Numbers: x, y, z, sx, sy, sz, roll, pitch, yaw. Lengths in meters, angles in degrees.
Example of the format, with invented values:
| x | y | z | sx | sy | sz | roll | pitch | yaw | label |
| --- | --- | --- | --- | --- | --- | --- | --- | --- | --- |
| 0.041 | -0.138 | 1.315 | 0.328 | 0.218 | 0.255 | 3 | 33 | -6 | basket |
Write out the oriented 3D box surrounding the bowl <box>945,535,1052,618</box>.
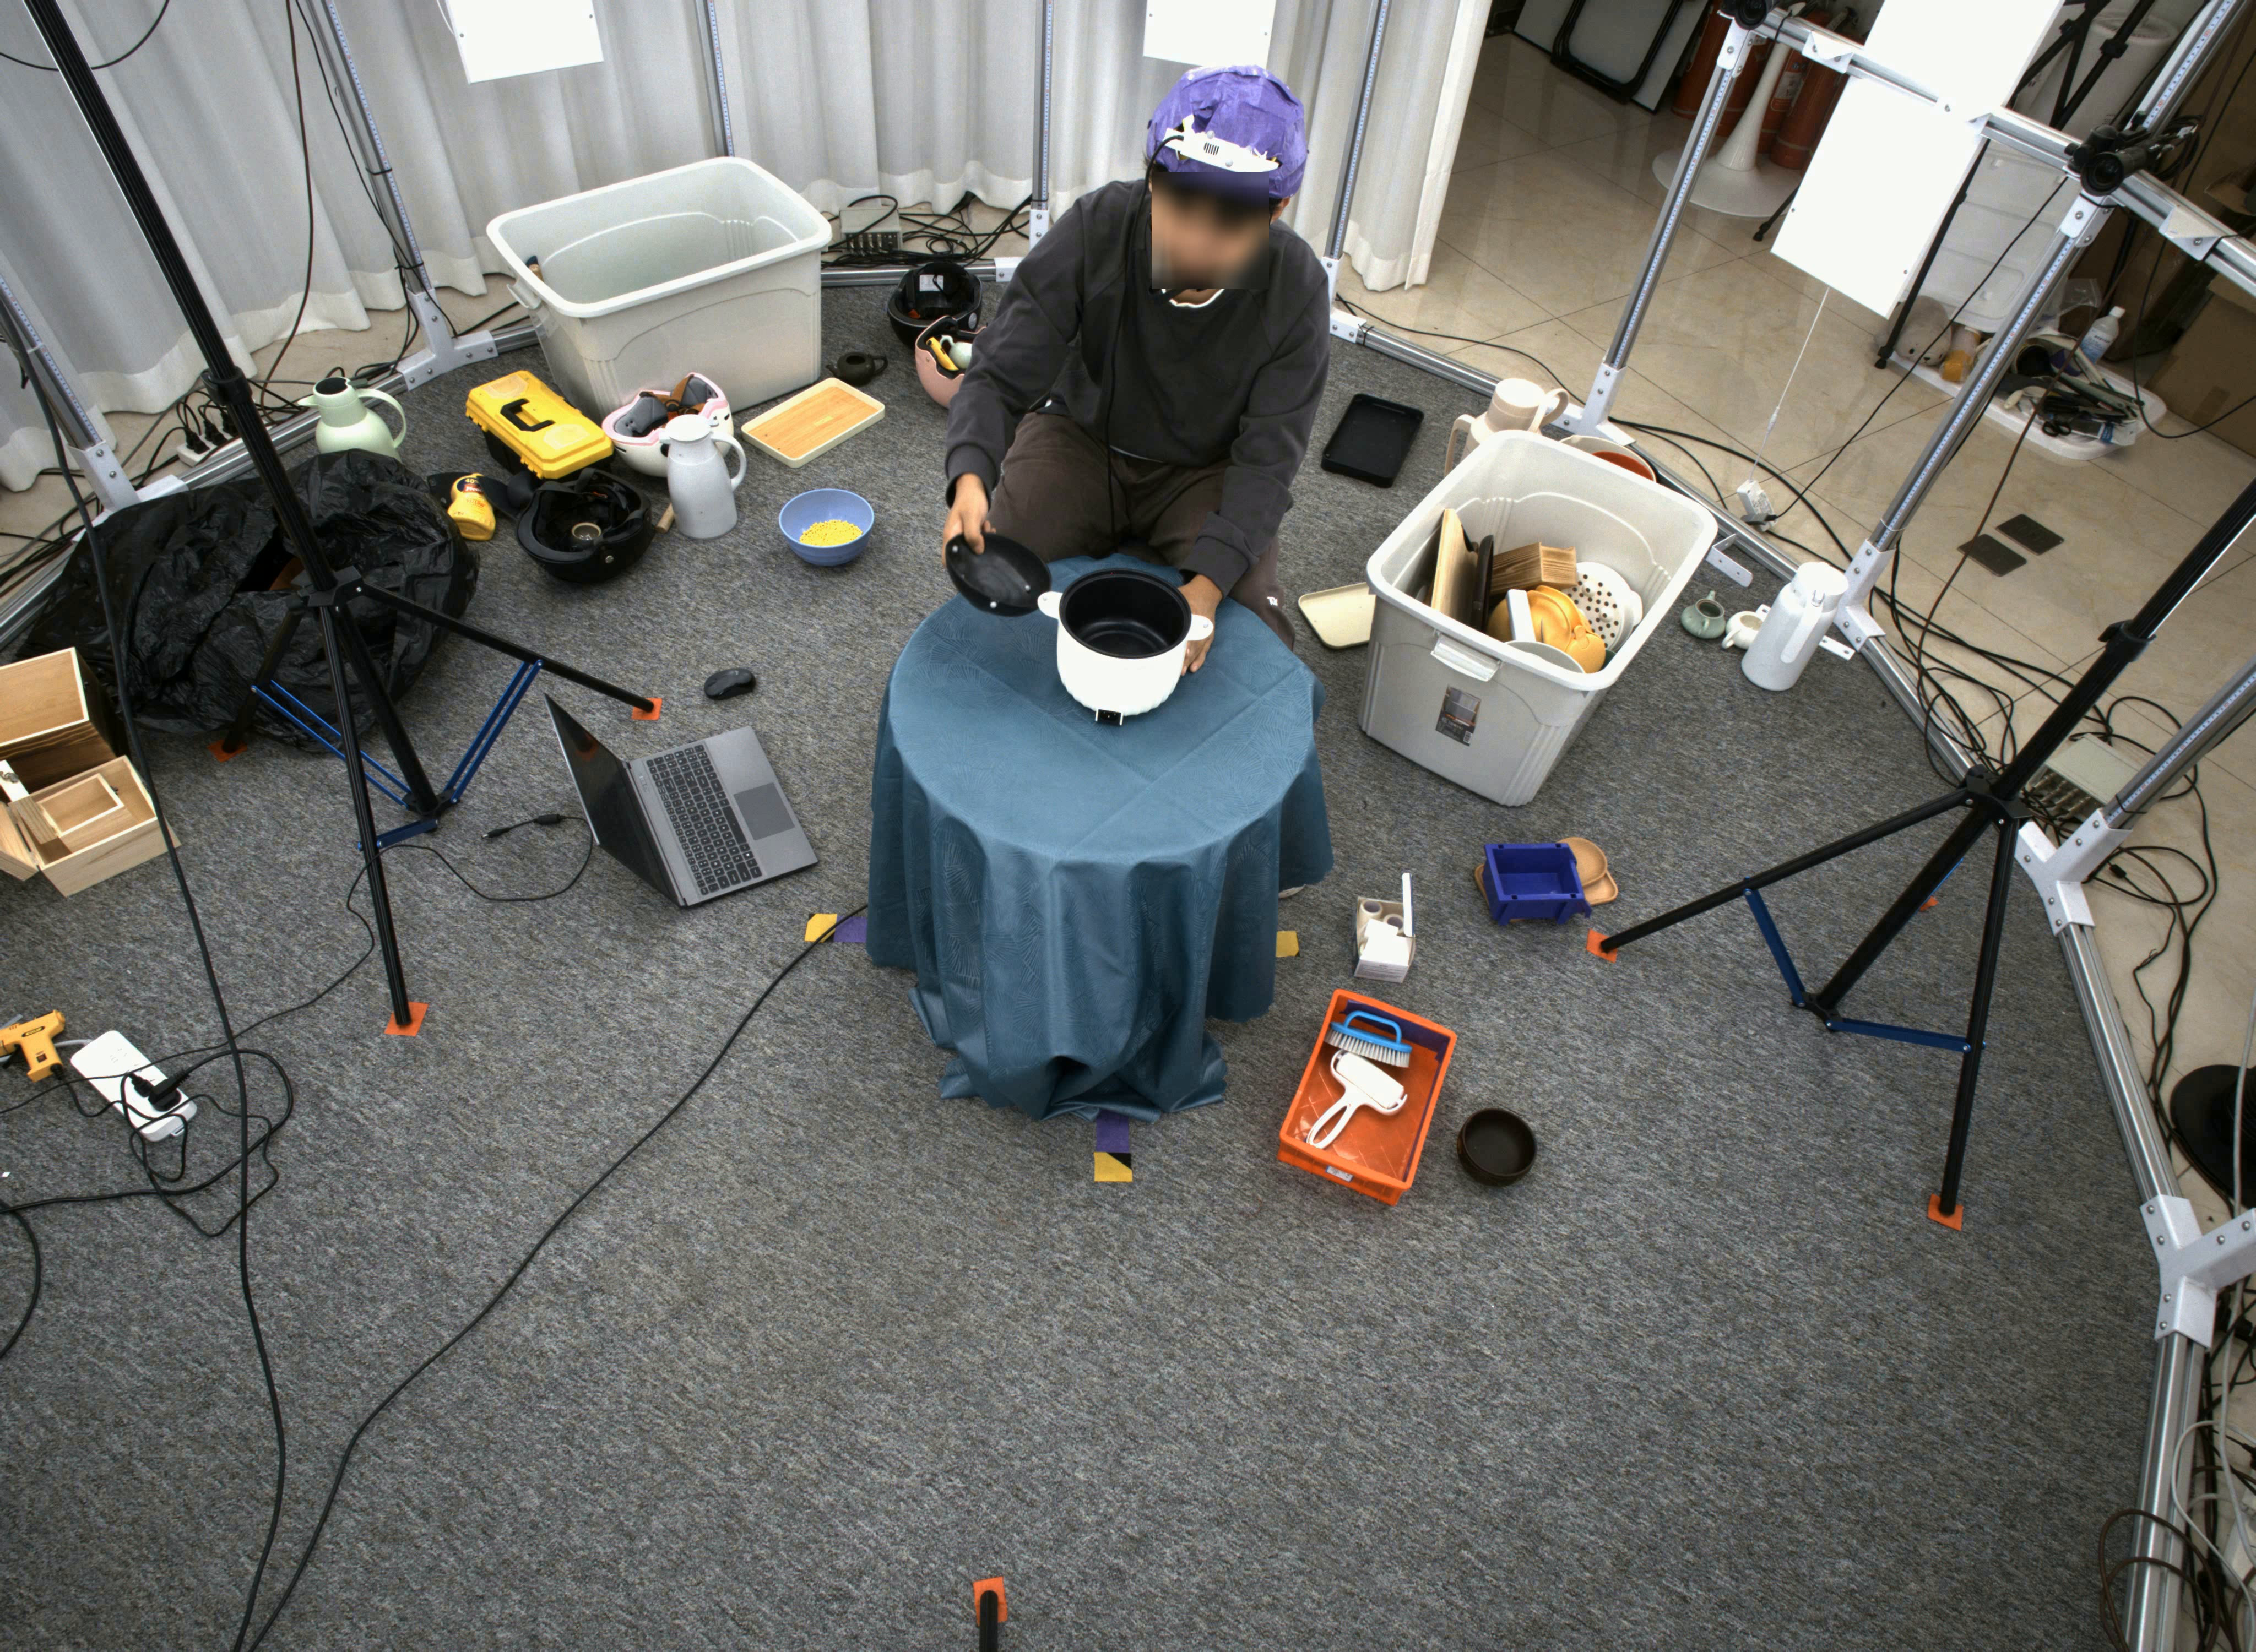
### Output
| x | y | z | sx | sy | sz | roll | pitch | yaw | label |
| --- | --- | --- | --- | --- | --- | --- | --- | --- | --- |
| -0.187 | -0.339 | 1.799 | 0.138 | 0.065 | 0.173 | -28 | 61 | -37 | bowl |

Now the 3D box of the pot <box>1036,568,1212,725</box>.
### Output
| x | y | z | sx | sy | sz | roll | pitch | yaw | label |
| --- | --- | --- | --- | --- | --- | --- | --- | --- | --- |
| -0.011 | -0.253 | 1.794 | 0.240 | 0.139 | 0.195 | 9 | 52 | 0 | pot |
